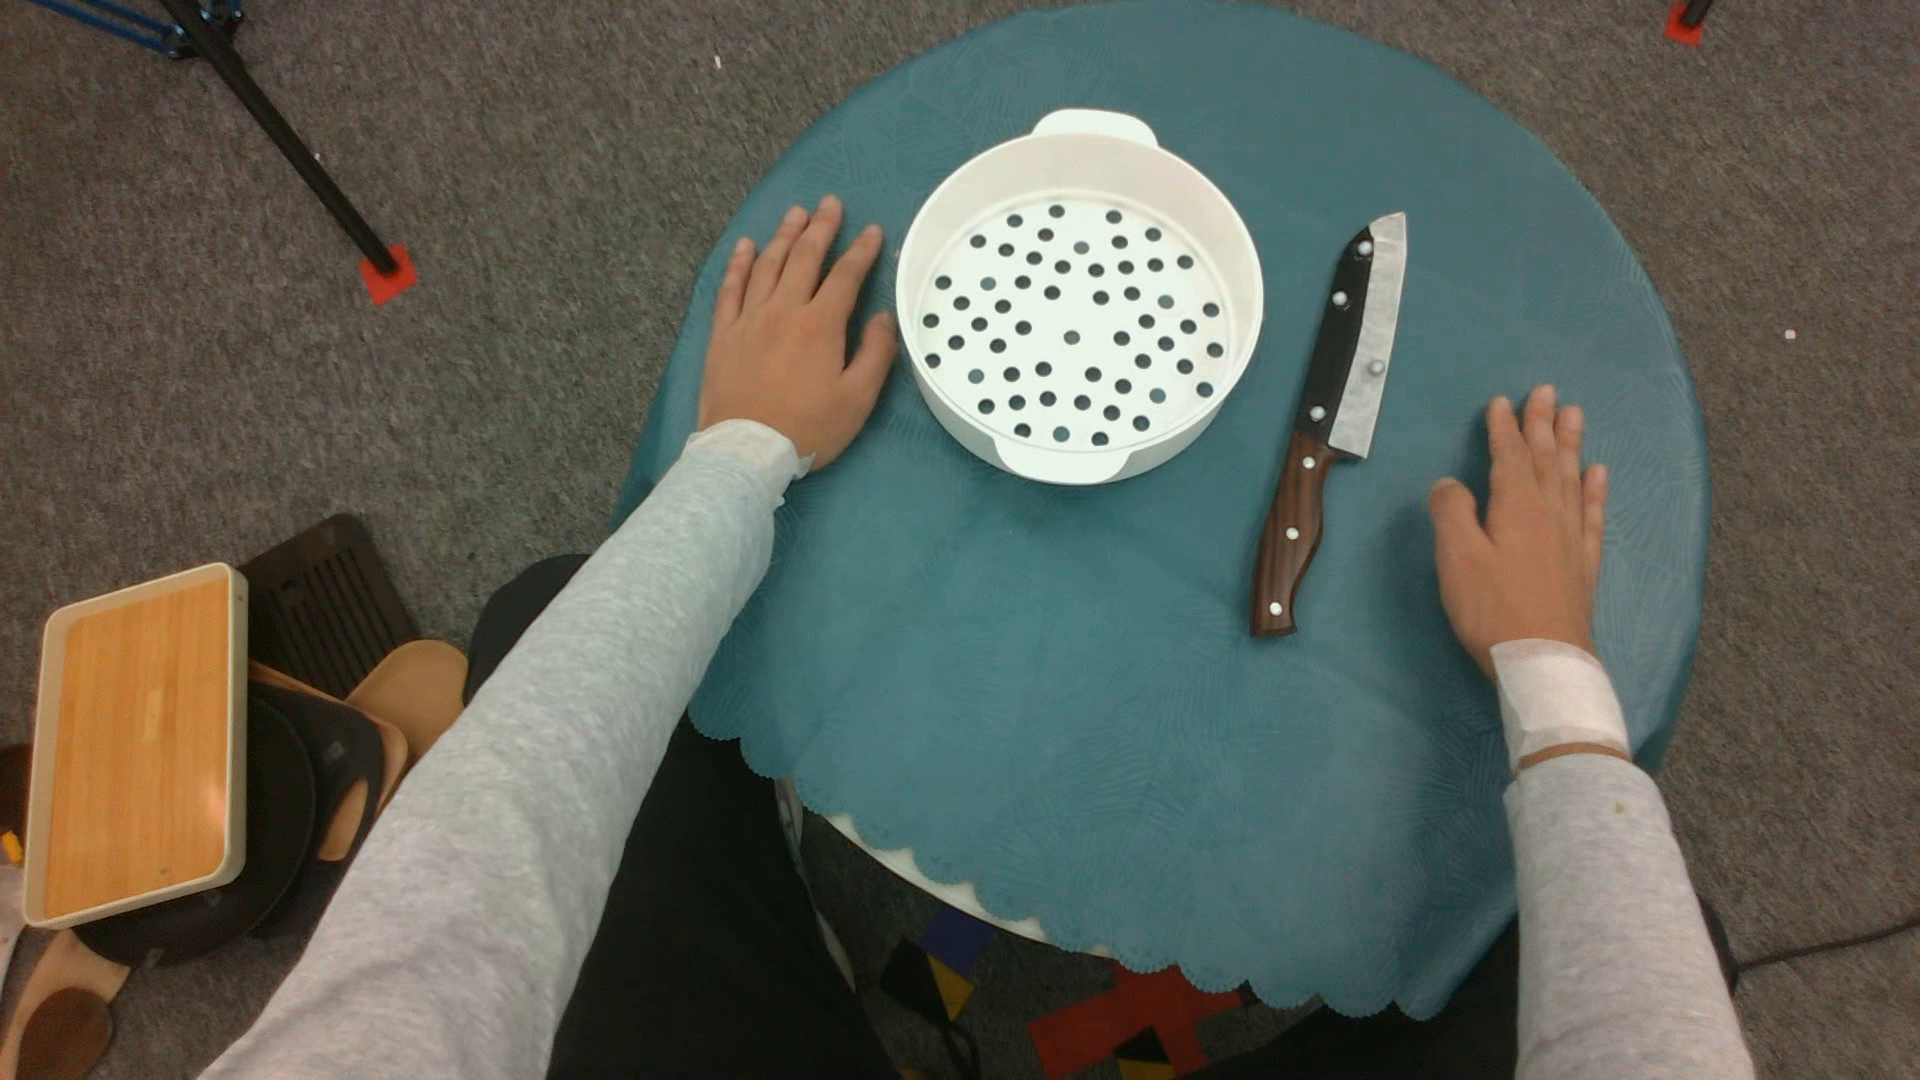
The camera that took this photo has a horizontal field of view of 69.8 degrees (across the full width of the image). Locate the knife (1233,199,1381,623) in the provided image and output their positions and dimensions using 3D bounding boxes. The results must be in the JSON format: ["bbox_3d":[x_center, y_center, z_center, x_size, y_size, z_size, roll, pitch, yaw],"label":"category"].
[{"bbox_3d":[0.203,-0.081,0.790,0.050,0.020,0.290,20,70,1],"label":"knife"}]

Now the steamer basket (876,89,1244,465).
[{"bbox_3d":[0.055,-0.141,0.782,0.202,0.069,0.231,6,72,2],"label":"steamer basket"}]
